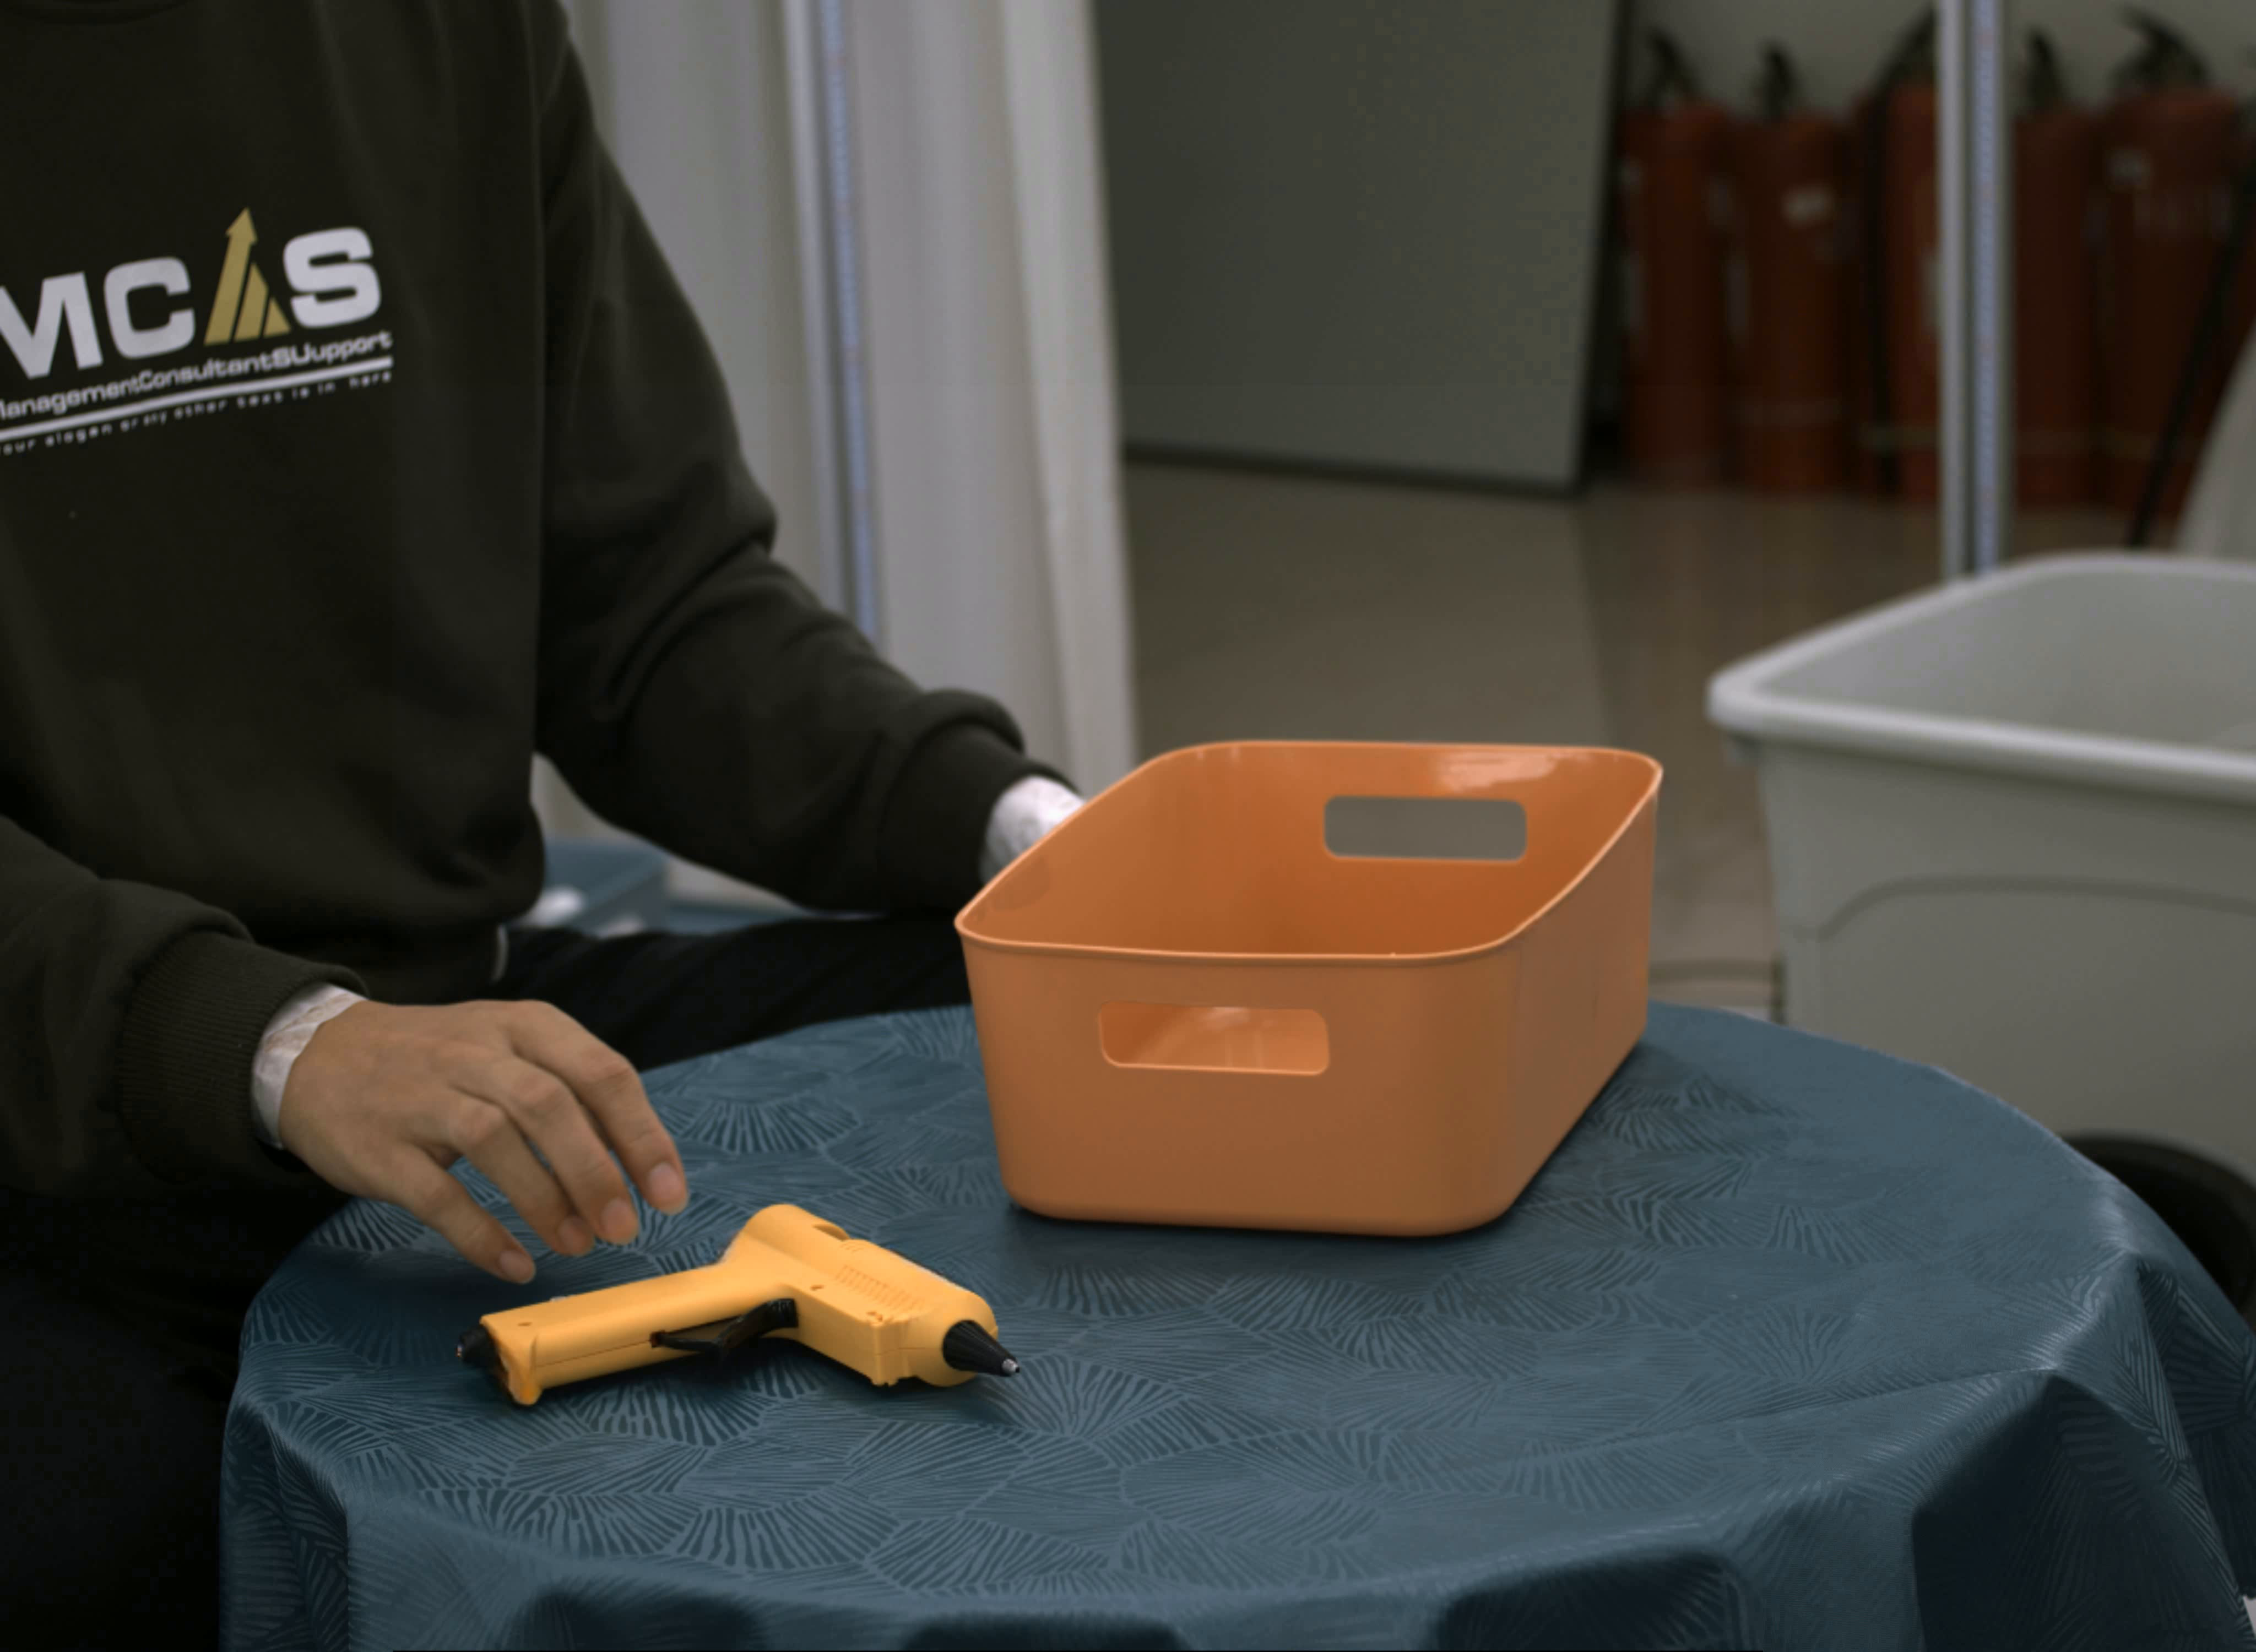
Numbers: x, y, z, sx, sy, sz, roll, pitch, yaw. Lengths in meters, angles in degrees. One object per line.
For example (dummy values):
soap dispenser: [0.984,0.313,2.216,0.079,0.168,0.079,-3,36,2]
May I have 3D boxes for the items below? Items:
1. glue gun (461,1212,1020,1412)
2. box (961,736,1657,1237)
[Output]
glue gun: [-0.107,0.158,1.613,0.130,0.031,0.153,-16,18,-34]
box: [0.067,0.052,1.823,0.199,0.103,0.271,1,15,19]
